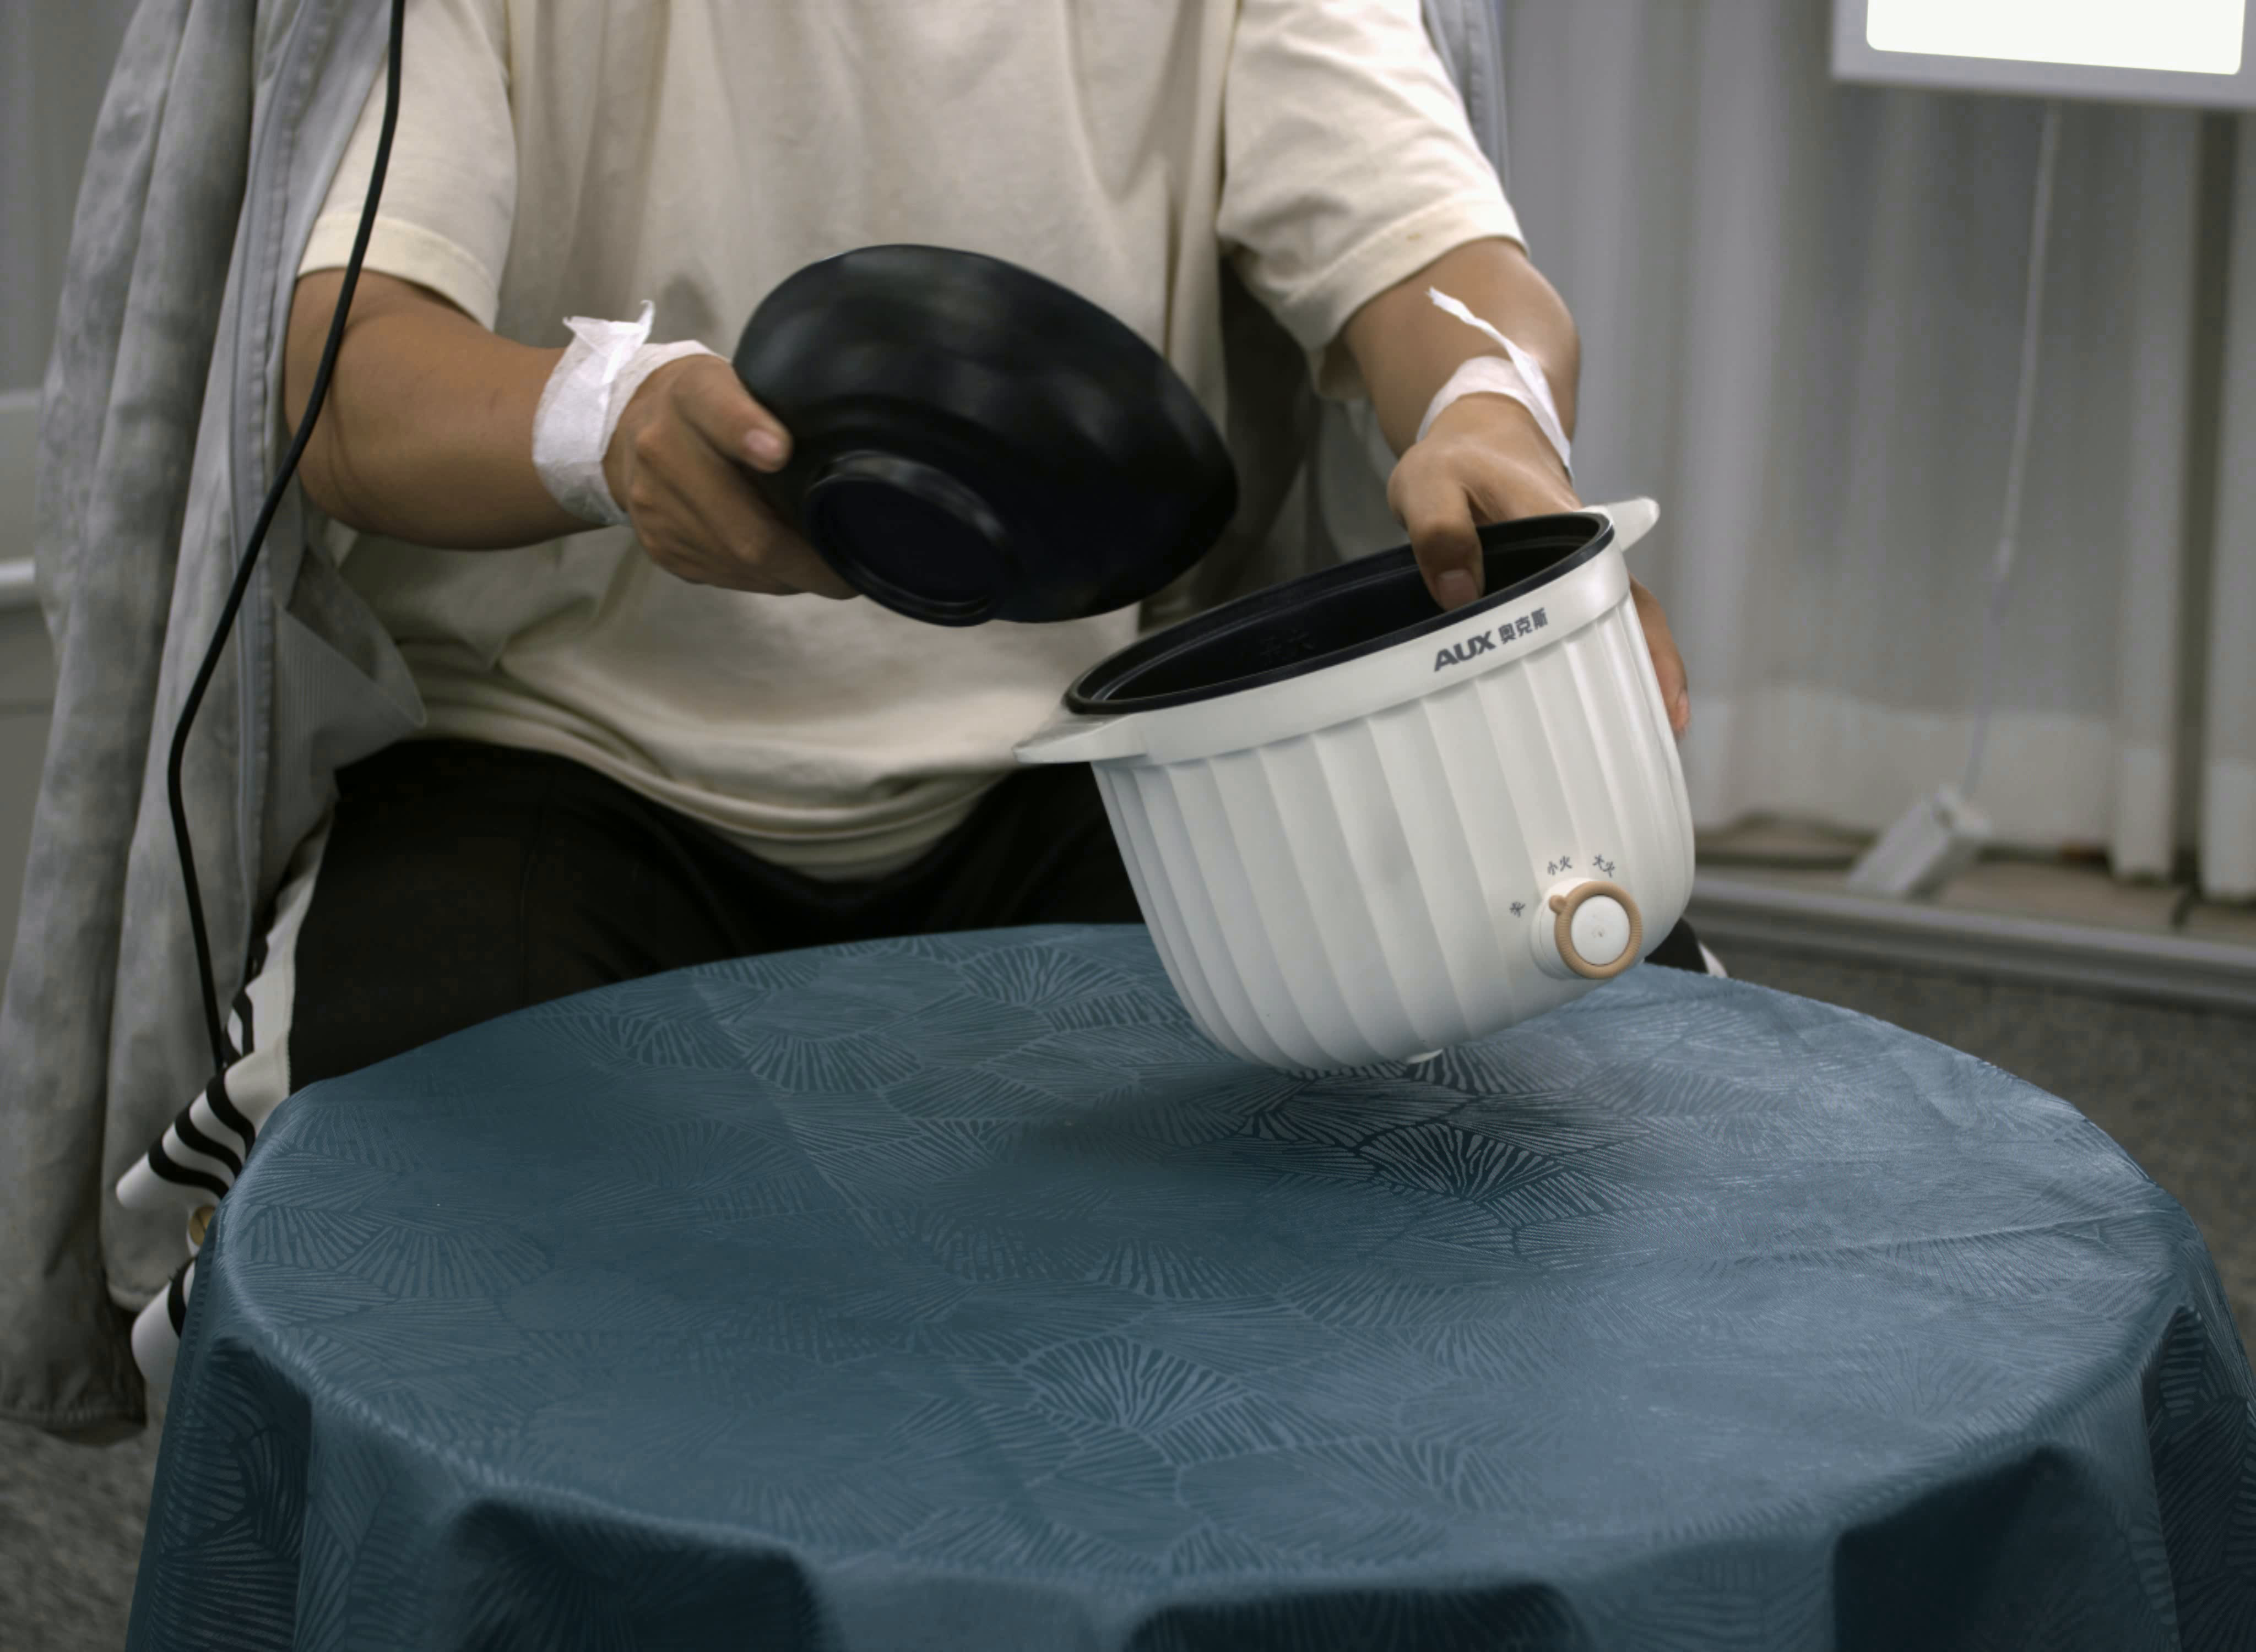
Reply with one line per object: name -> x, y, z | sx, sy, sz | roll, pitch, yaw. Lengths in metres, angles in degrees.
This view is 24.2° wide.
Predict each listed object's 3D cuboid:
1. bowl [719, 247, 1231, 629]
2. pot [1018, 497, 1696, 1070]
bowl -> -0.056, -0.106, 1.590 | 0.168, 0.139, 0.066 | 11, 56, 24
pot -> 0.091, -0.008, 1.671 | 0.241, 0.143, 0.189 | -24, 9, -25
